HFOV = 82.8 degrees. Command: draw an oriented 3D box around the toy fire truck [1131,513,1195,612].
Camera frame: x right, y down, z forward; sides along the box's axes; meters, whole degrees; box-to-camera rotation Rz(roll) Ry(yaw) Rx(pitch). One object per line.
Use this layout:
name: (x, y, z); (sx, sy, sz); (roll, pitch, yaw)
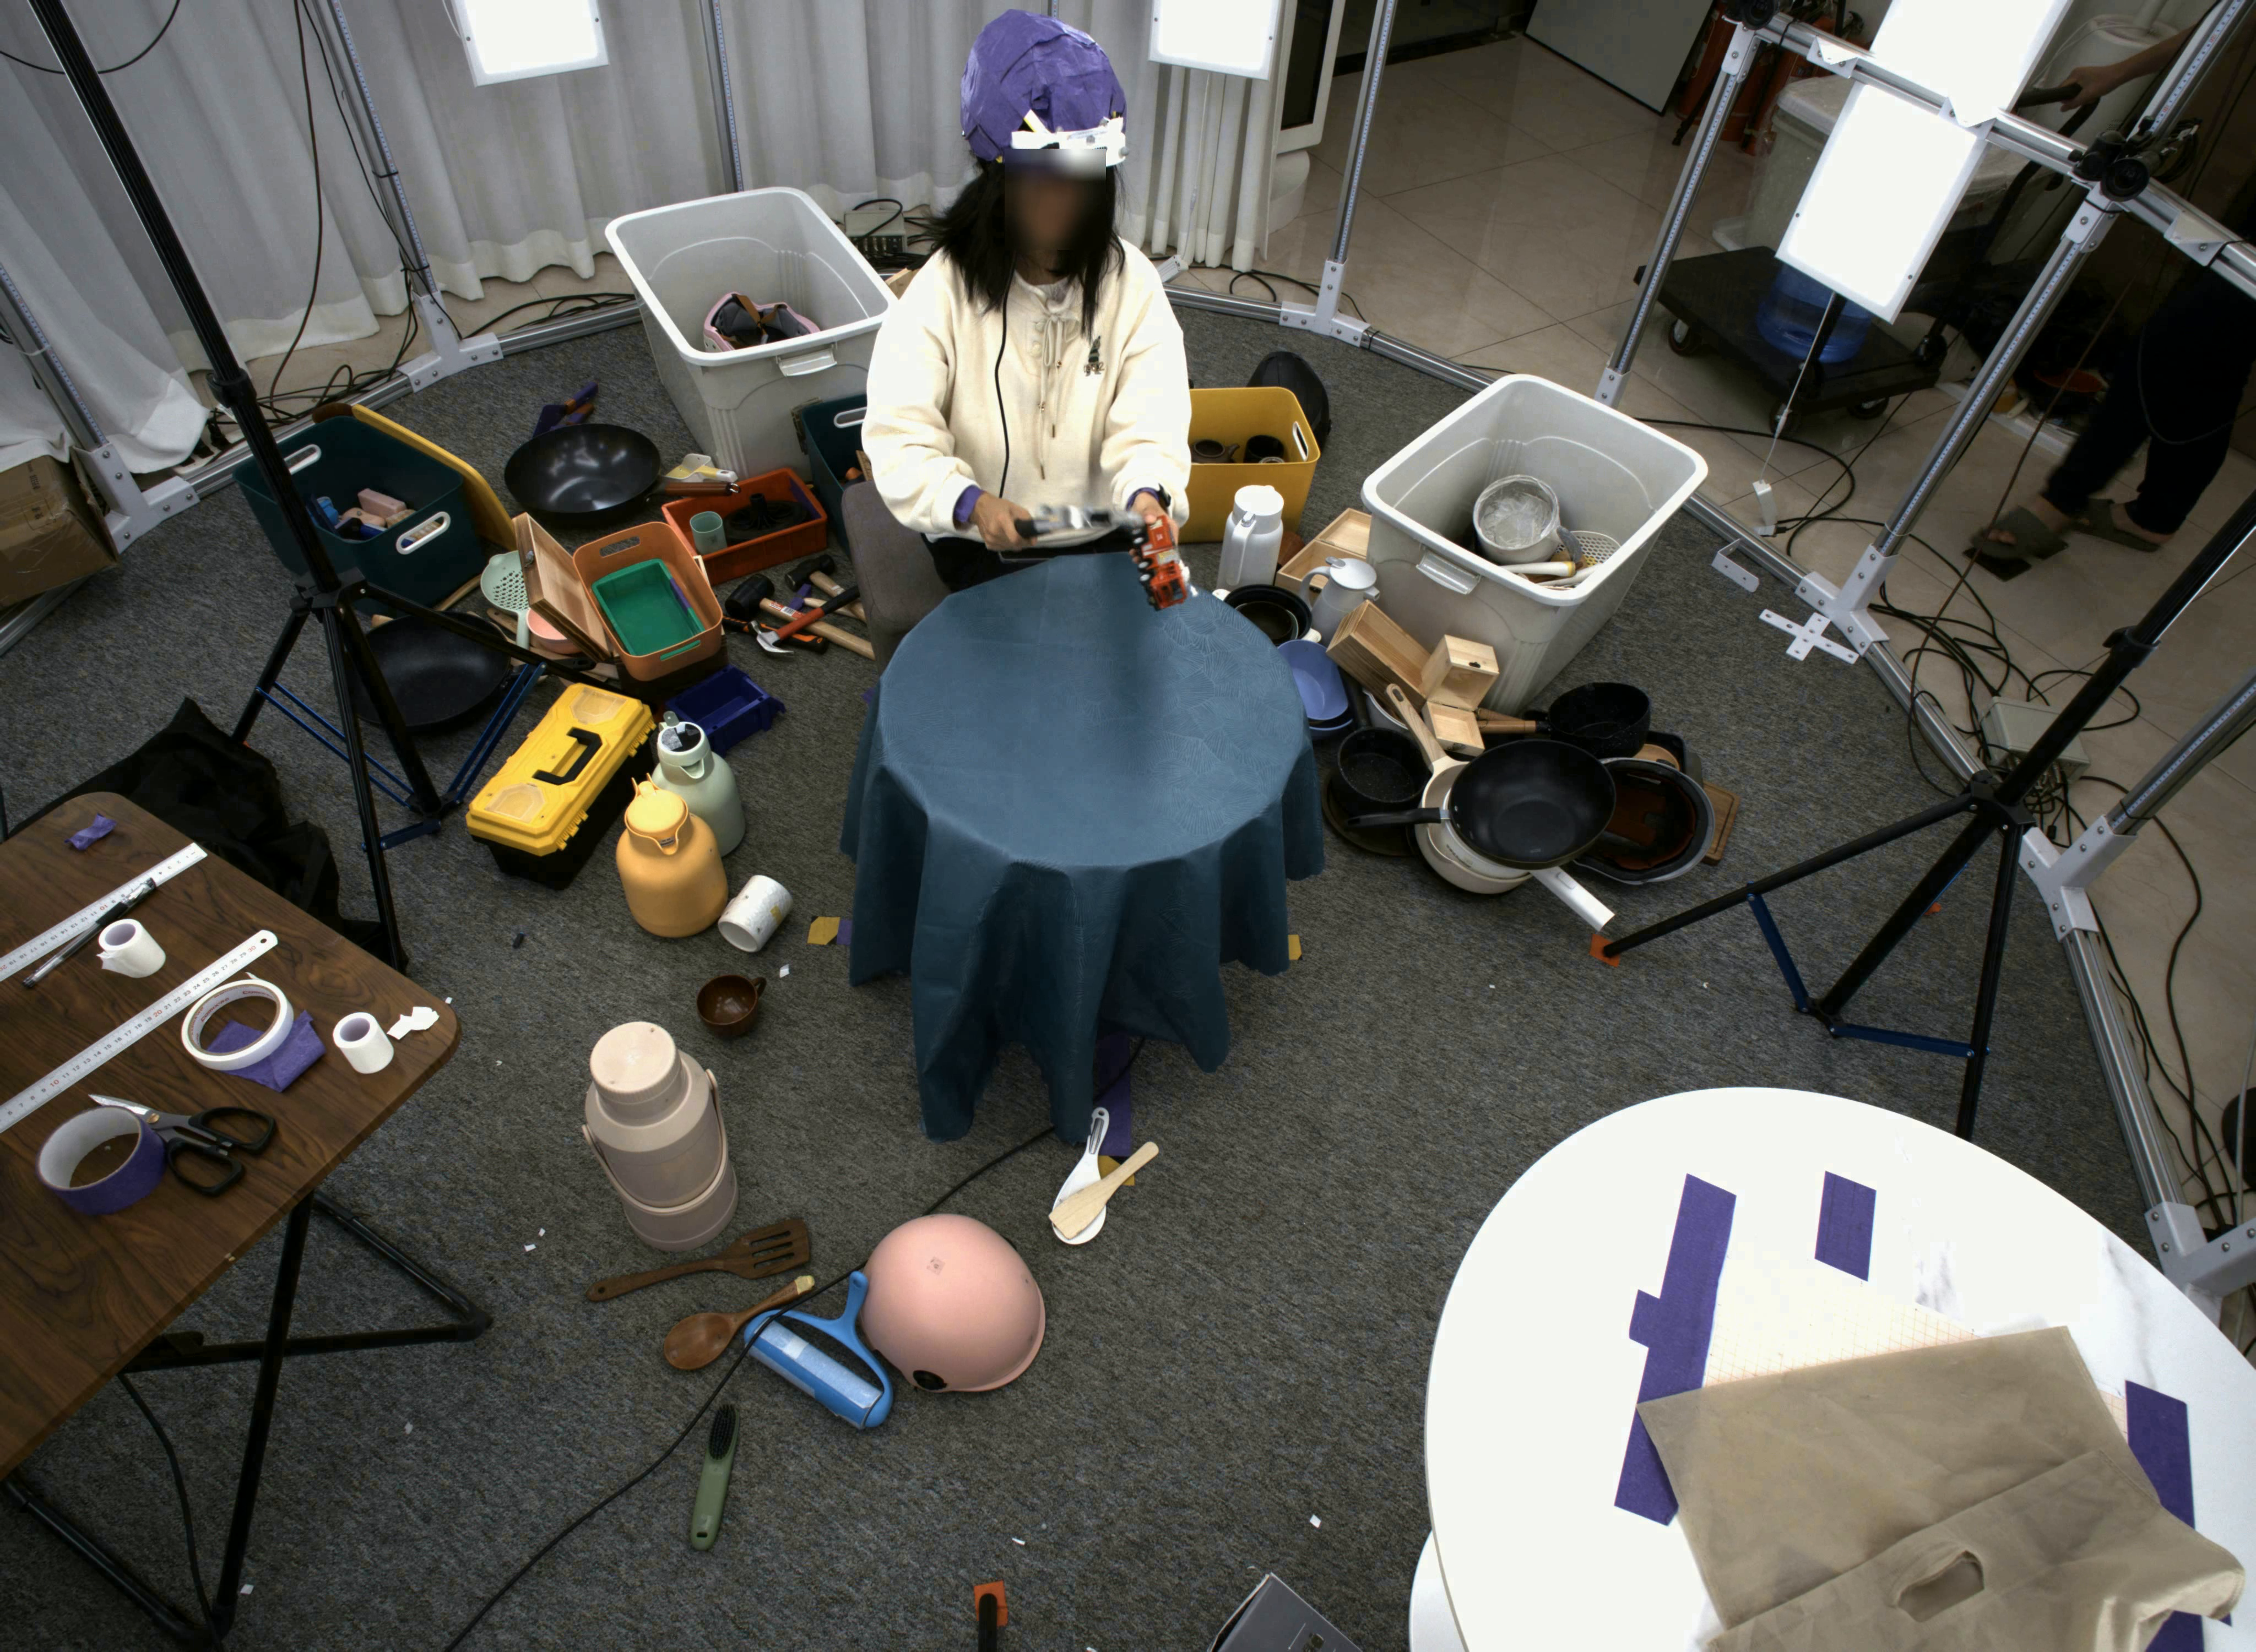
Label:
toy fire truck: (0.045, -0.355, 1.730); (0.070, 0.052, 0.172); (-17, 43, 8)

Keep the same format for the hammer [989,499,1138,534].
hammer: (-0.117, -0.425, 1.776); (0.131, 0.032, 0.341); (-5, 11, -25)
